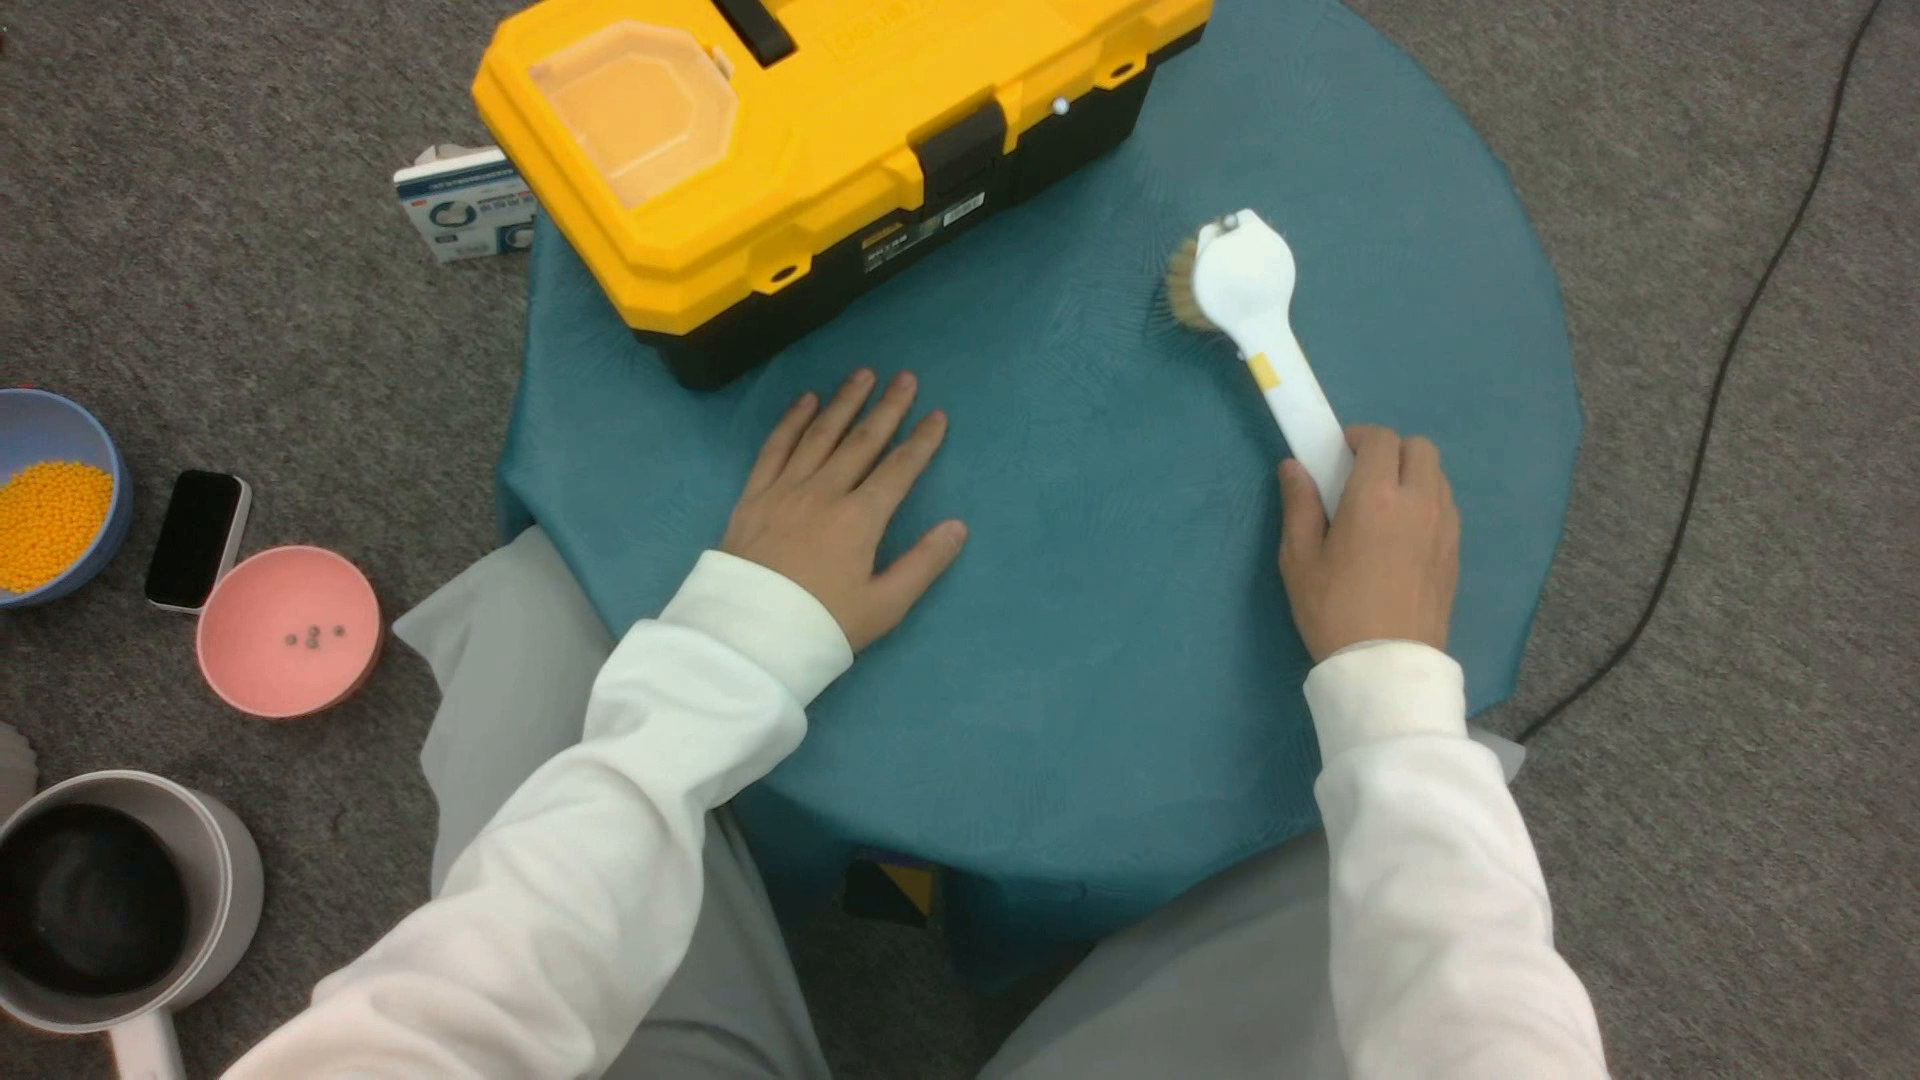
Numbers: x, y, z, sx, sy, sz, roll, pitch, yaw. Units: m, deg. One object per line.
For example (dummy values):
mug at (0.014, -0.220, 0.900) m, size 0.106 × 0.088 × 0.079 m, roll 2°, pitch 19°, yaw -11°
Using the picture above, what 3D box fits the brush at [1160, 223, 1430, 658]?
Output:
brush at (0.193, -0.057, 0.782) m, size 0.068 × 0.056 × 0.266 m, roll -26°, pitch 90°, yaw 6°

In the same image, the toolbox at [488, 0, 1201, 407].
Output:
toolbox at (-0.052, -0.229, 0.740) m, size 0.352 × 0.172 × 0.181 m, roll -35°, pitch 77°, yaw -12°
